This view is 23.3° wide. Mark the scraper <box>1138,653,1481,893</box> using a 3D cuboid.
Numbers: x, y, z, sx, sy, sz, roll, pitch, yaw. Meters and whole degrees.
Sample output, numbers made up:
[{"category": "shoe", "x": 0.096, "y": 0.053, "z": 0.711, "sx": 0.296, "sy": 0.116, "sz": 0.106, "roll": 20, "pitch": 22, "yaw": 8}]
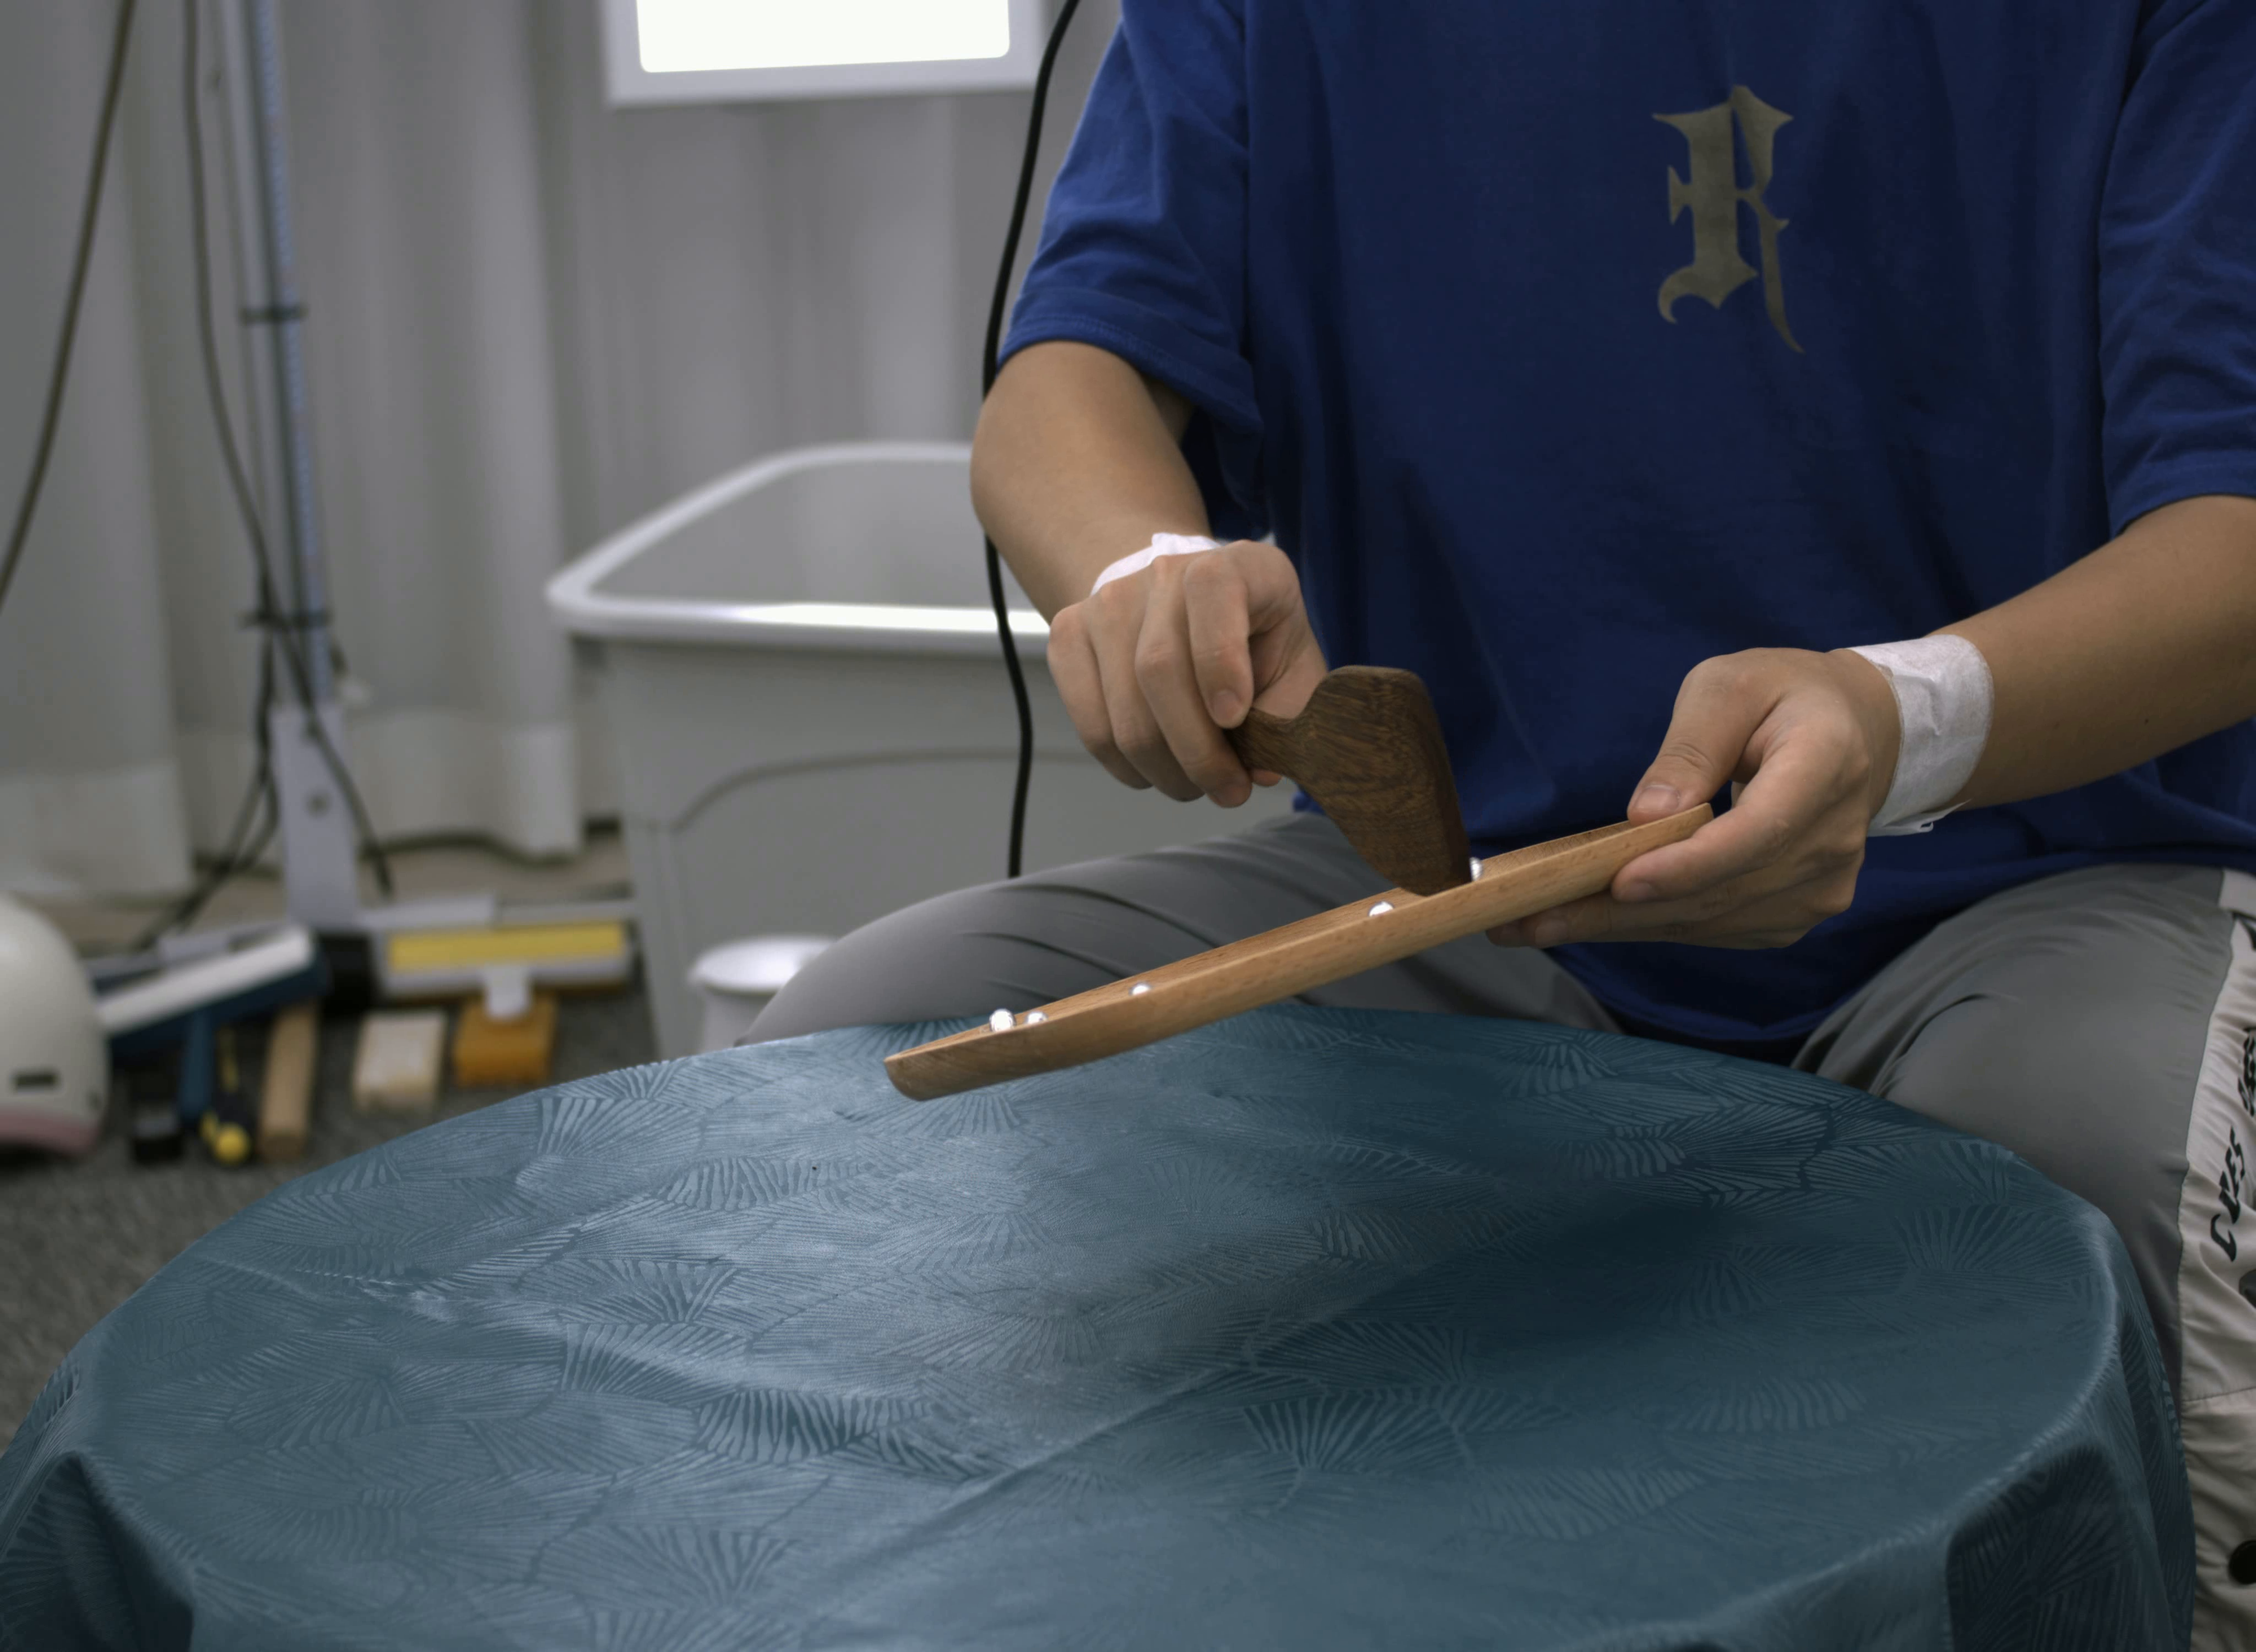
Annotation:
[{"category": "scraper", "x": 0.050, "y": -0.025, "z": 1.682, "sx": 0.011, "sy": 0.075, "sz": 0.212, "roll": -22, "pitch": 15, "yaw": -20}]

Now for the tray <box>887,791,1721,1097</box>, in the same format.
[{"category": "tray", "x": 0.054, "y": 0.034, "z": 1.597, "sx": 0.250, "sy": 0.023, "sz": 0.130, "roll": -17, "pitch": 3, "yaw": -33}]
